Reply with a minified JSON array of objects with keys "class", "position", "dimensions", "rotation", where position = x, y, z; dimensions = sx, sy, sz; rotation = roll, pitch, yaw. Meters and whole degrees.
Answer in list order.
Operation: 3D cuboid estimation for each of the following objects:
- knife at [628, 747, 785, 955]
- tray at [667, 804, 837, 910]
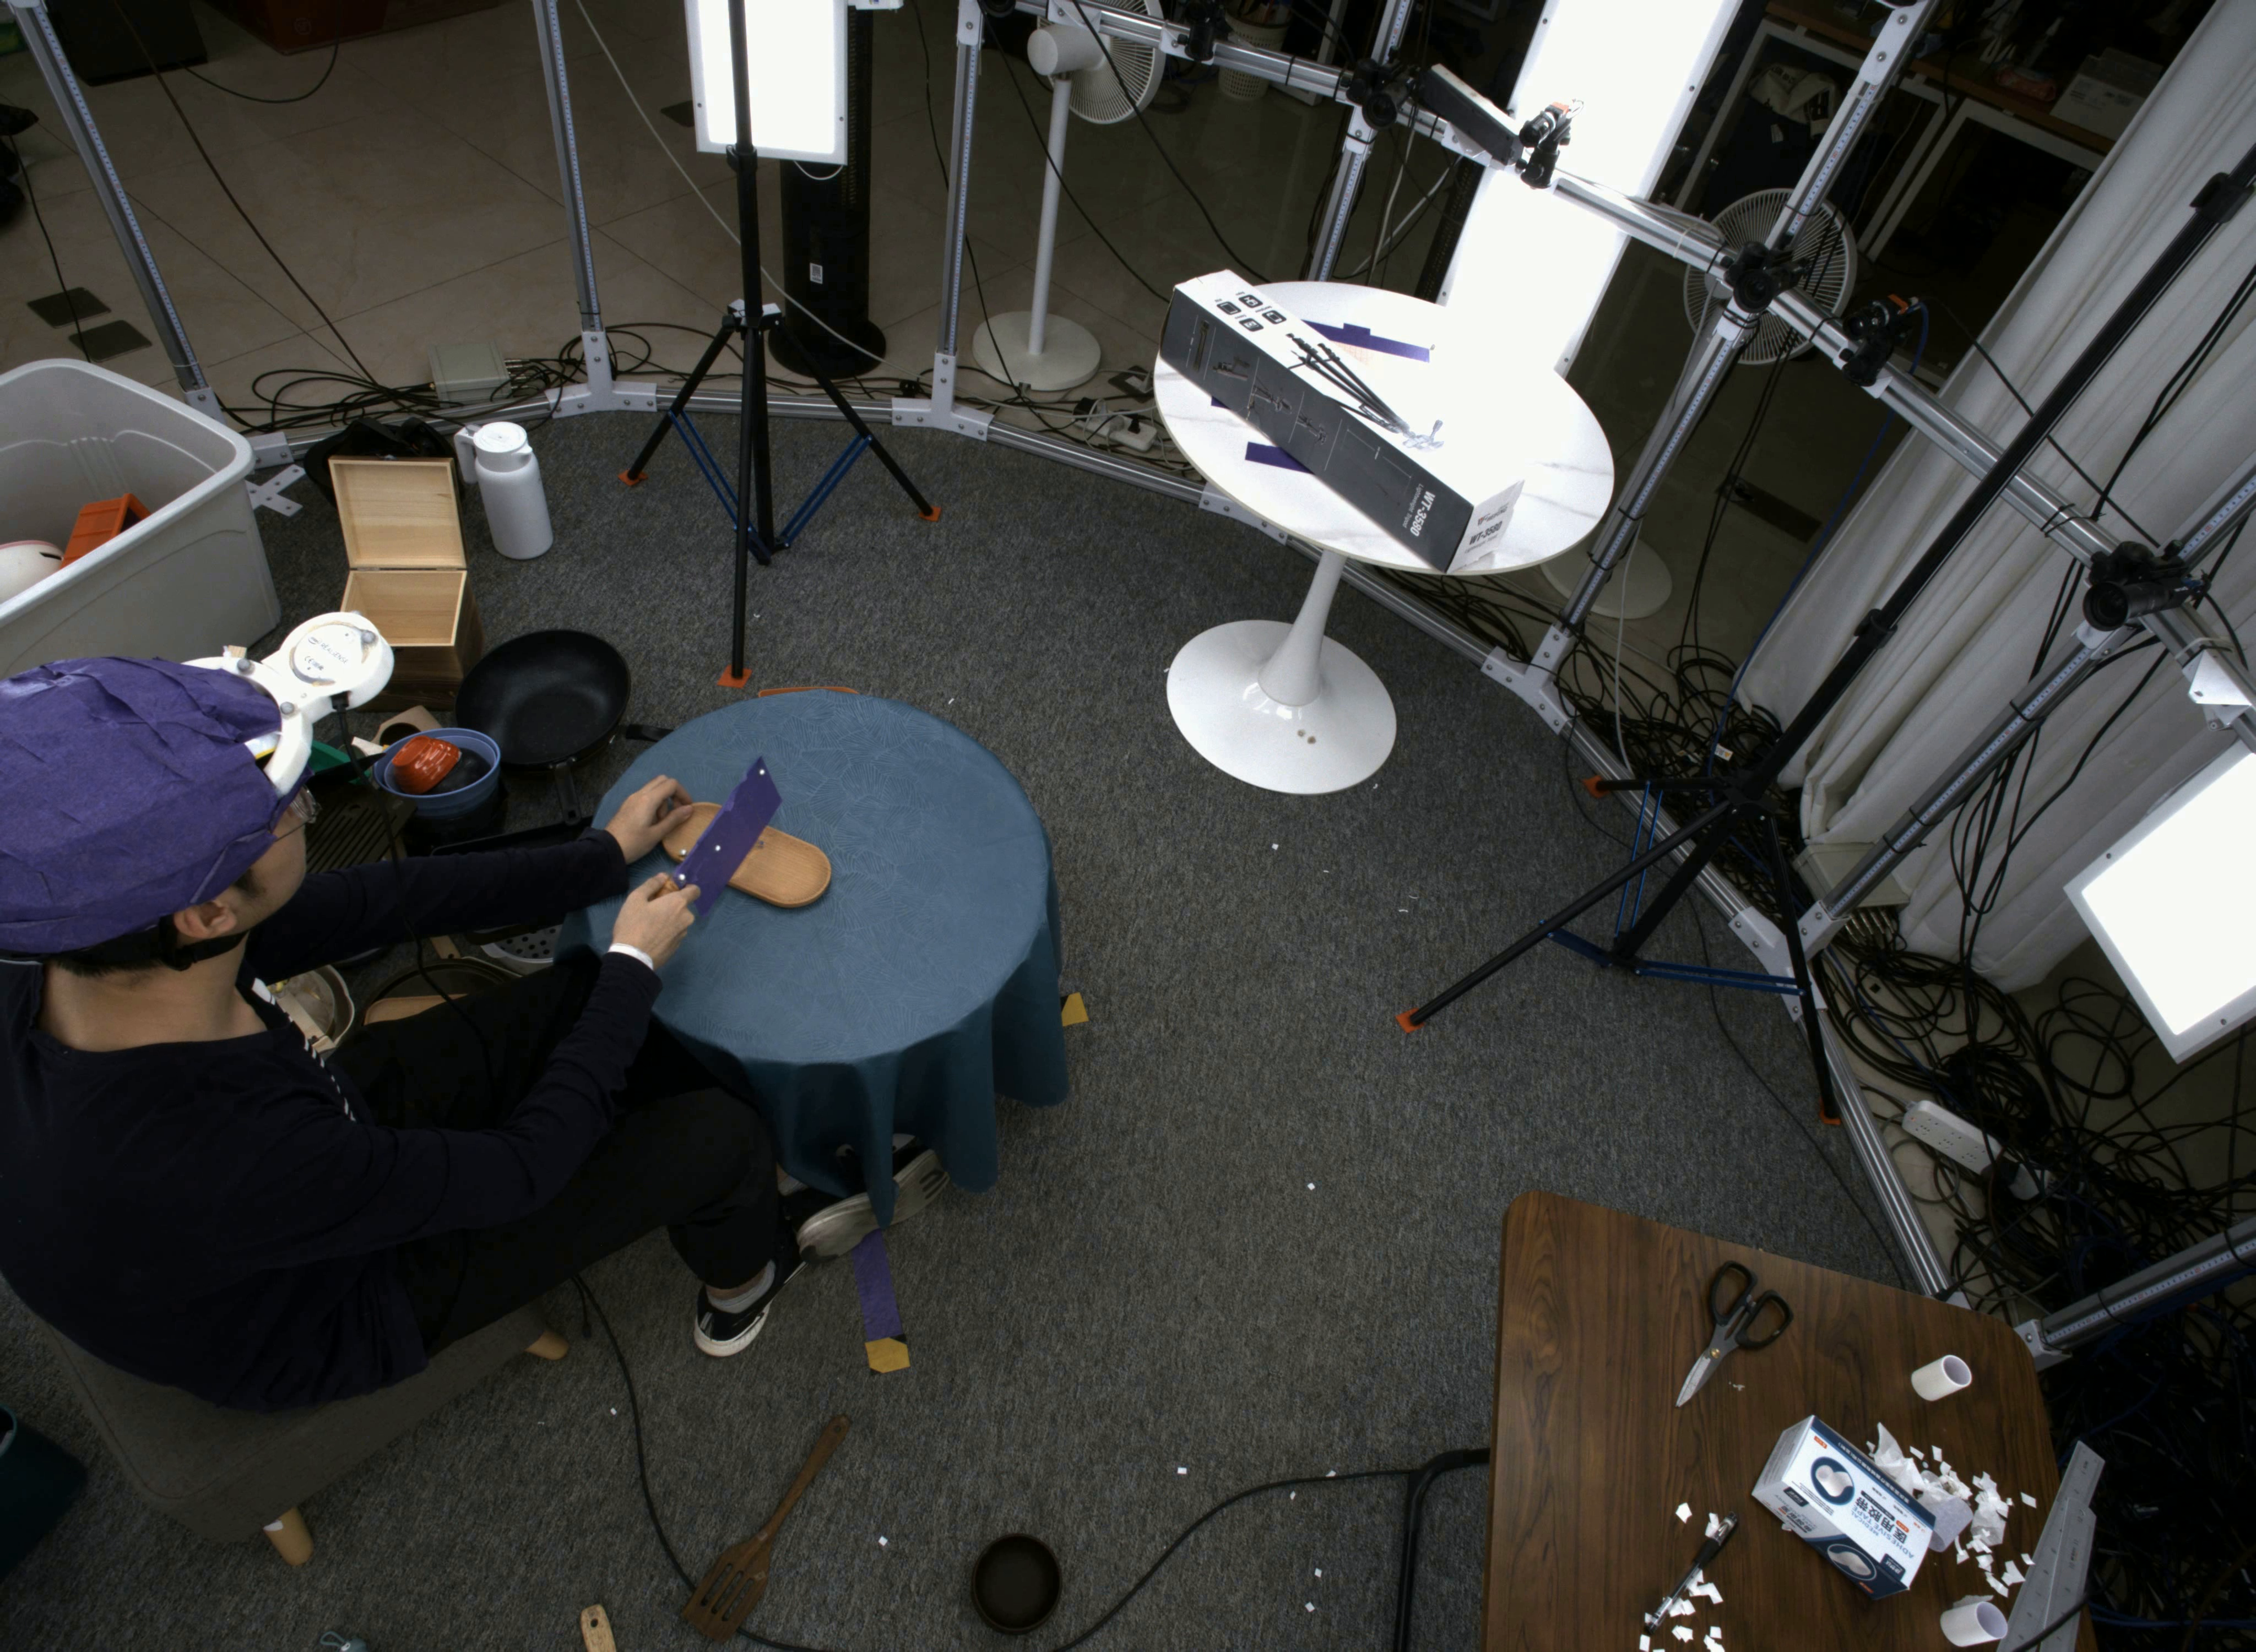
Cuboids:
[{"class":"knife","position":[-0.510,0.045,1.598],"dimensions":[0.031,0.107,0.313],"rotation":[11,52,20]},{"class":"tray","position":[-0.489,0.039,1.681],"dimensions":[0.229,0.020,0.101],"rotation":[23,54,-1]}]
